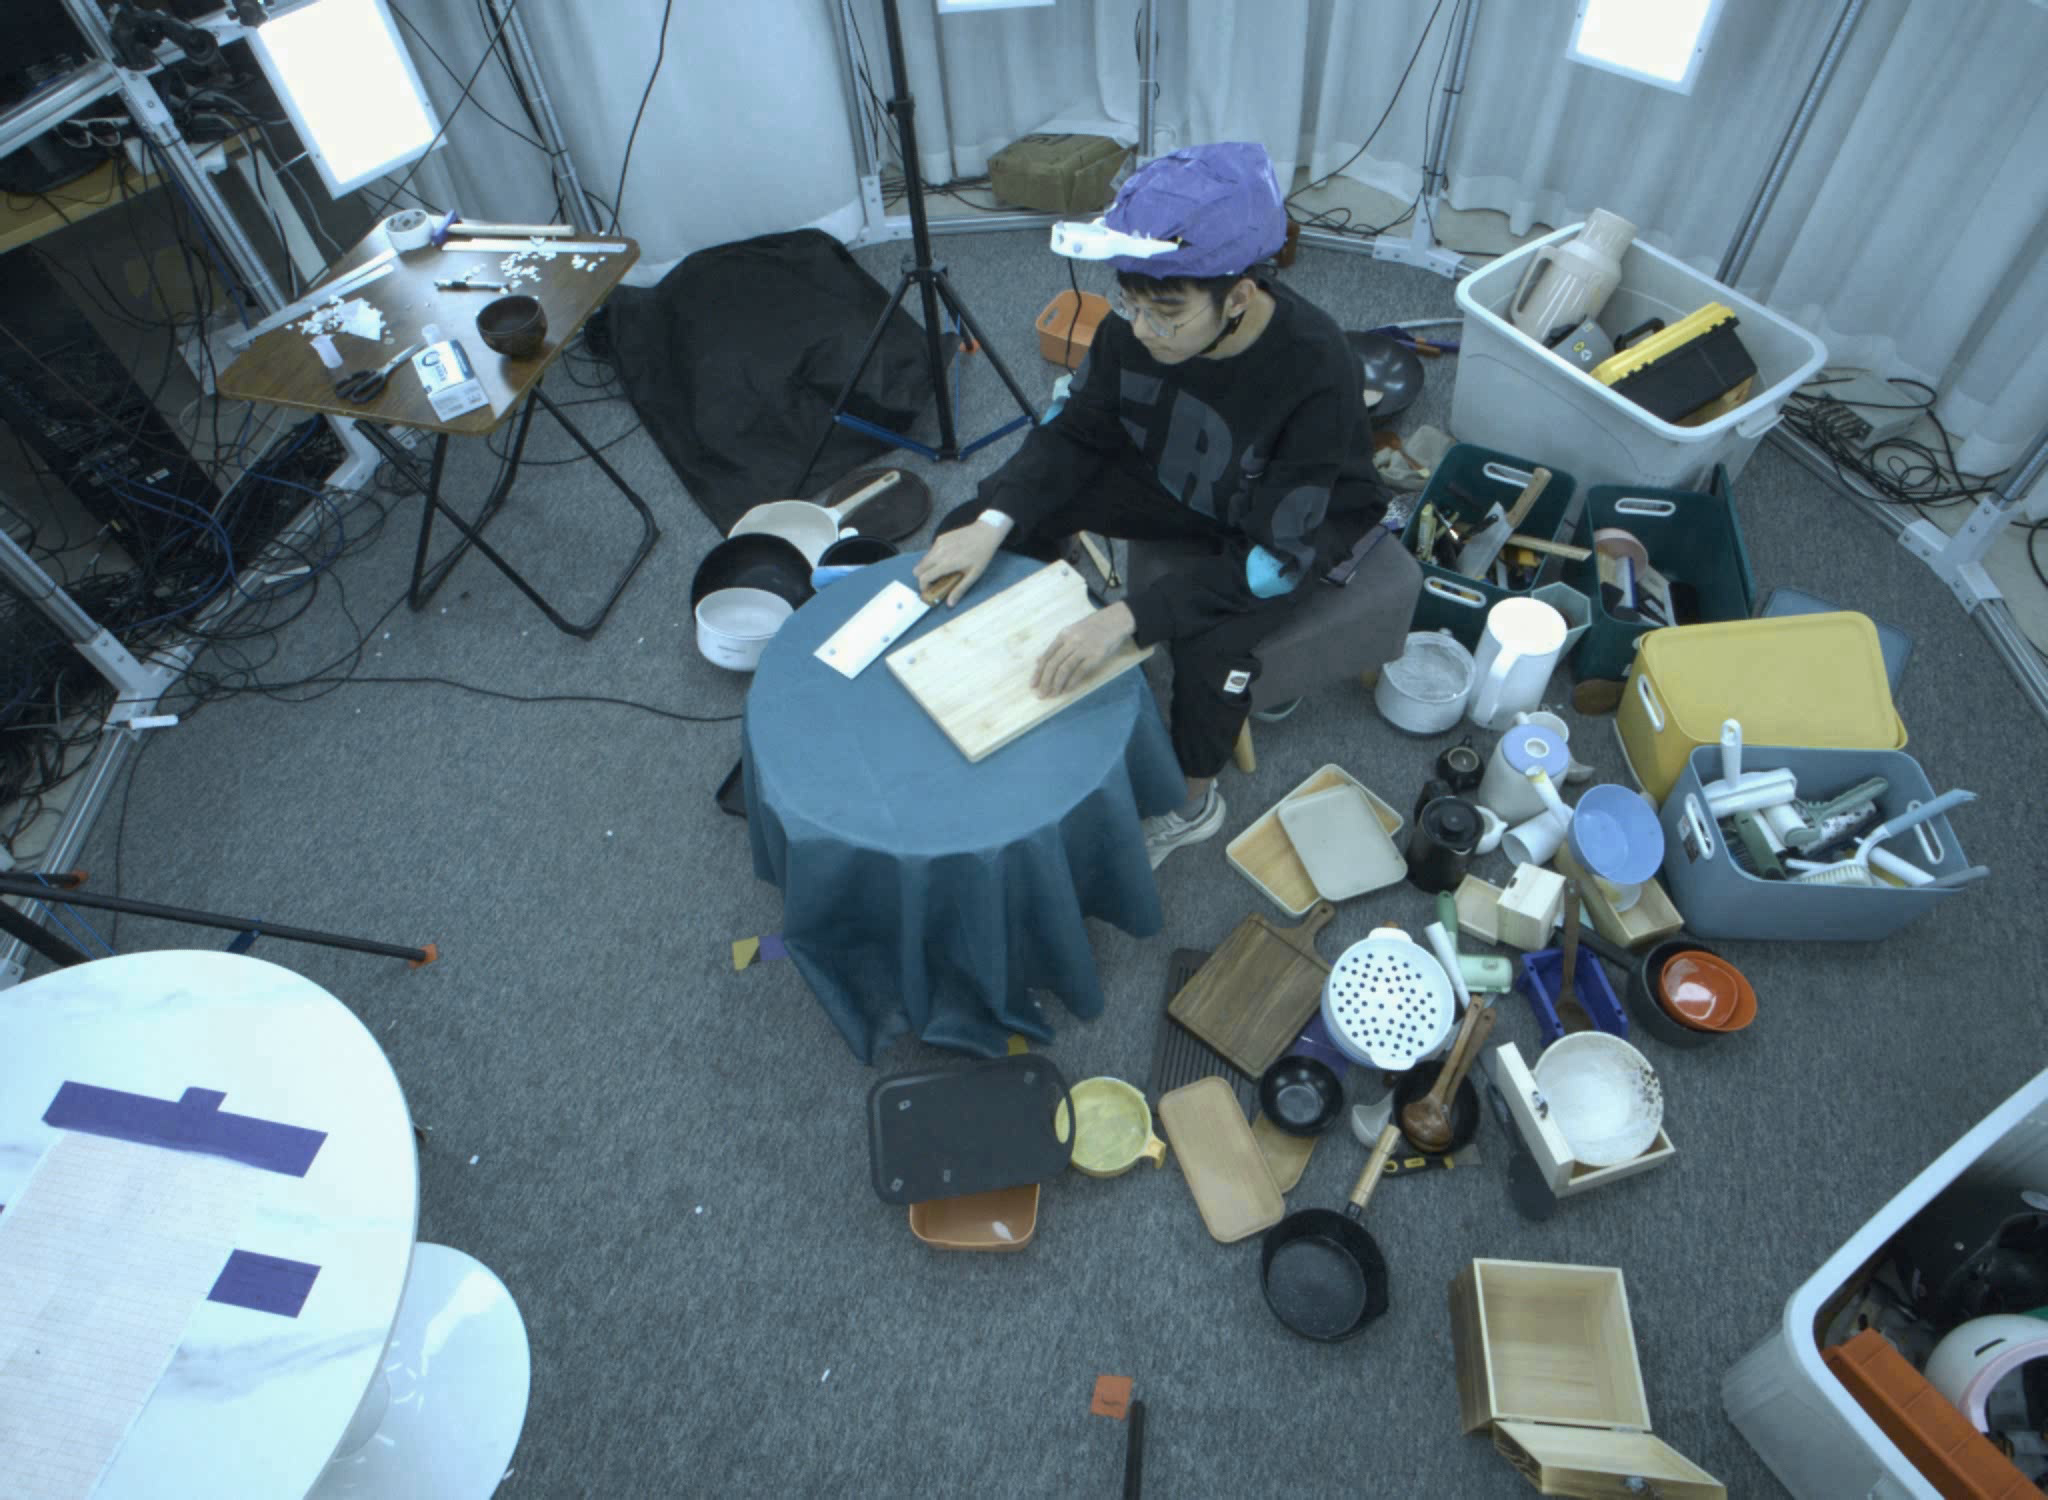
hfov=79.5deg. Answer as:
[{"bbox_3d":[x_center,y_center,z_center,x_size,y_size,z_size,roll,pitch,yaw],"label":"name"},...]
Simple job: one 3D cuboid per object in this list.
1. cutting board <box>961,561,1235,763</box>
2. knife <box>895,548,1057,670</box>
[{"bbox_3d":[0.108,-0.142,1.874,0.351,0.024,0.246,-29,59,-17],"label":"cutting board"},{"bbox_3d":[-0.080,-0.238,1.949,0.091,0.021,0.307,37,66,27],"label":"knife"}]
